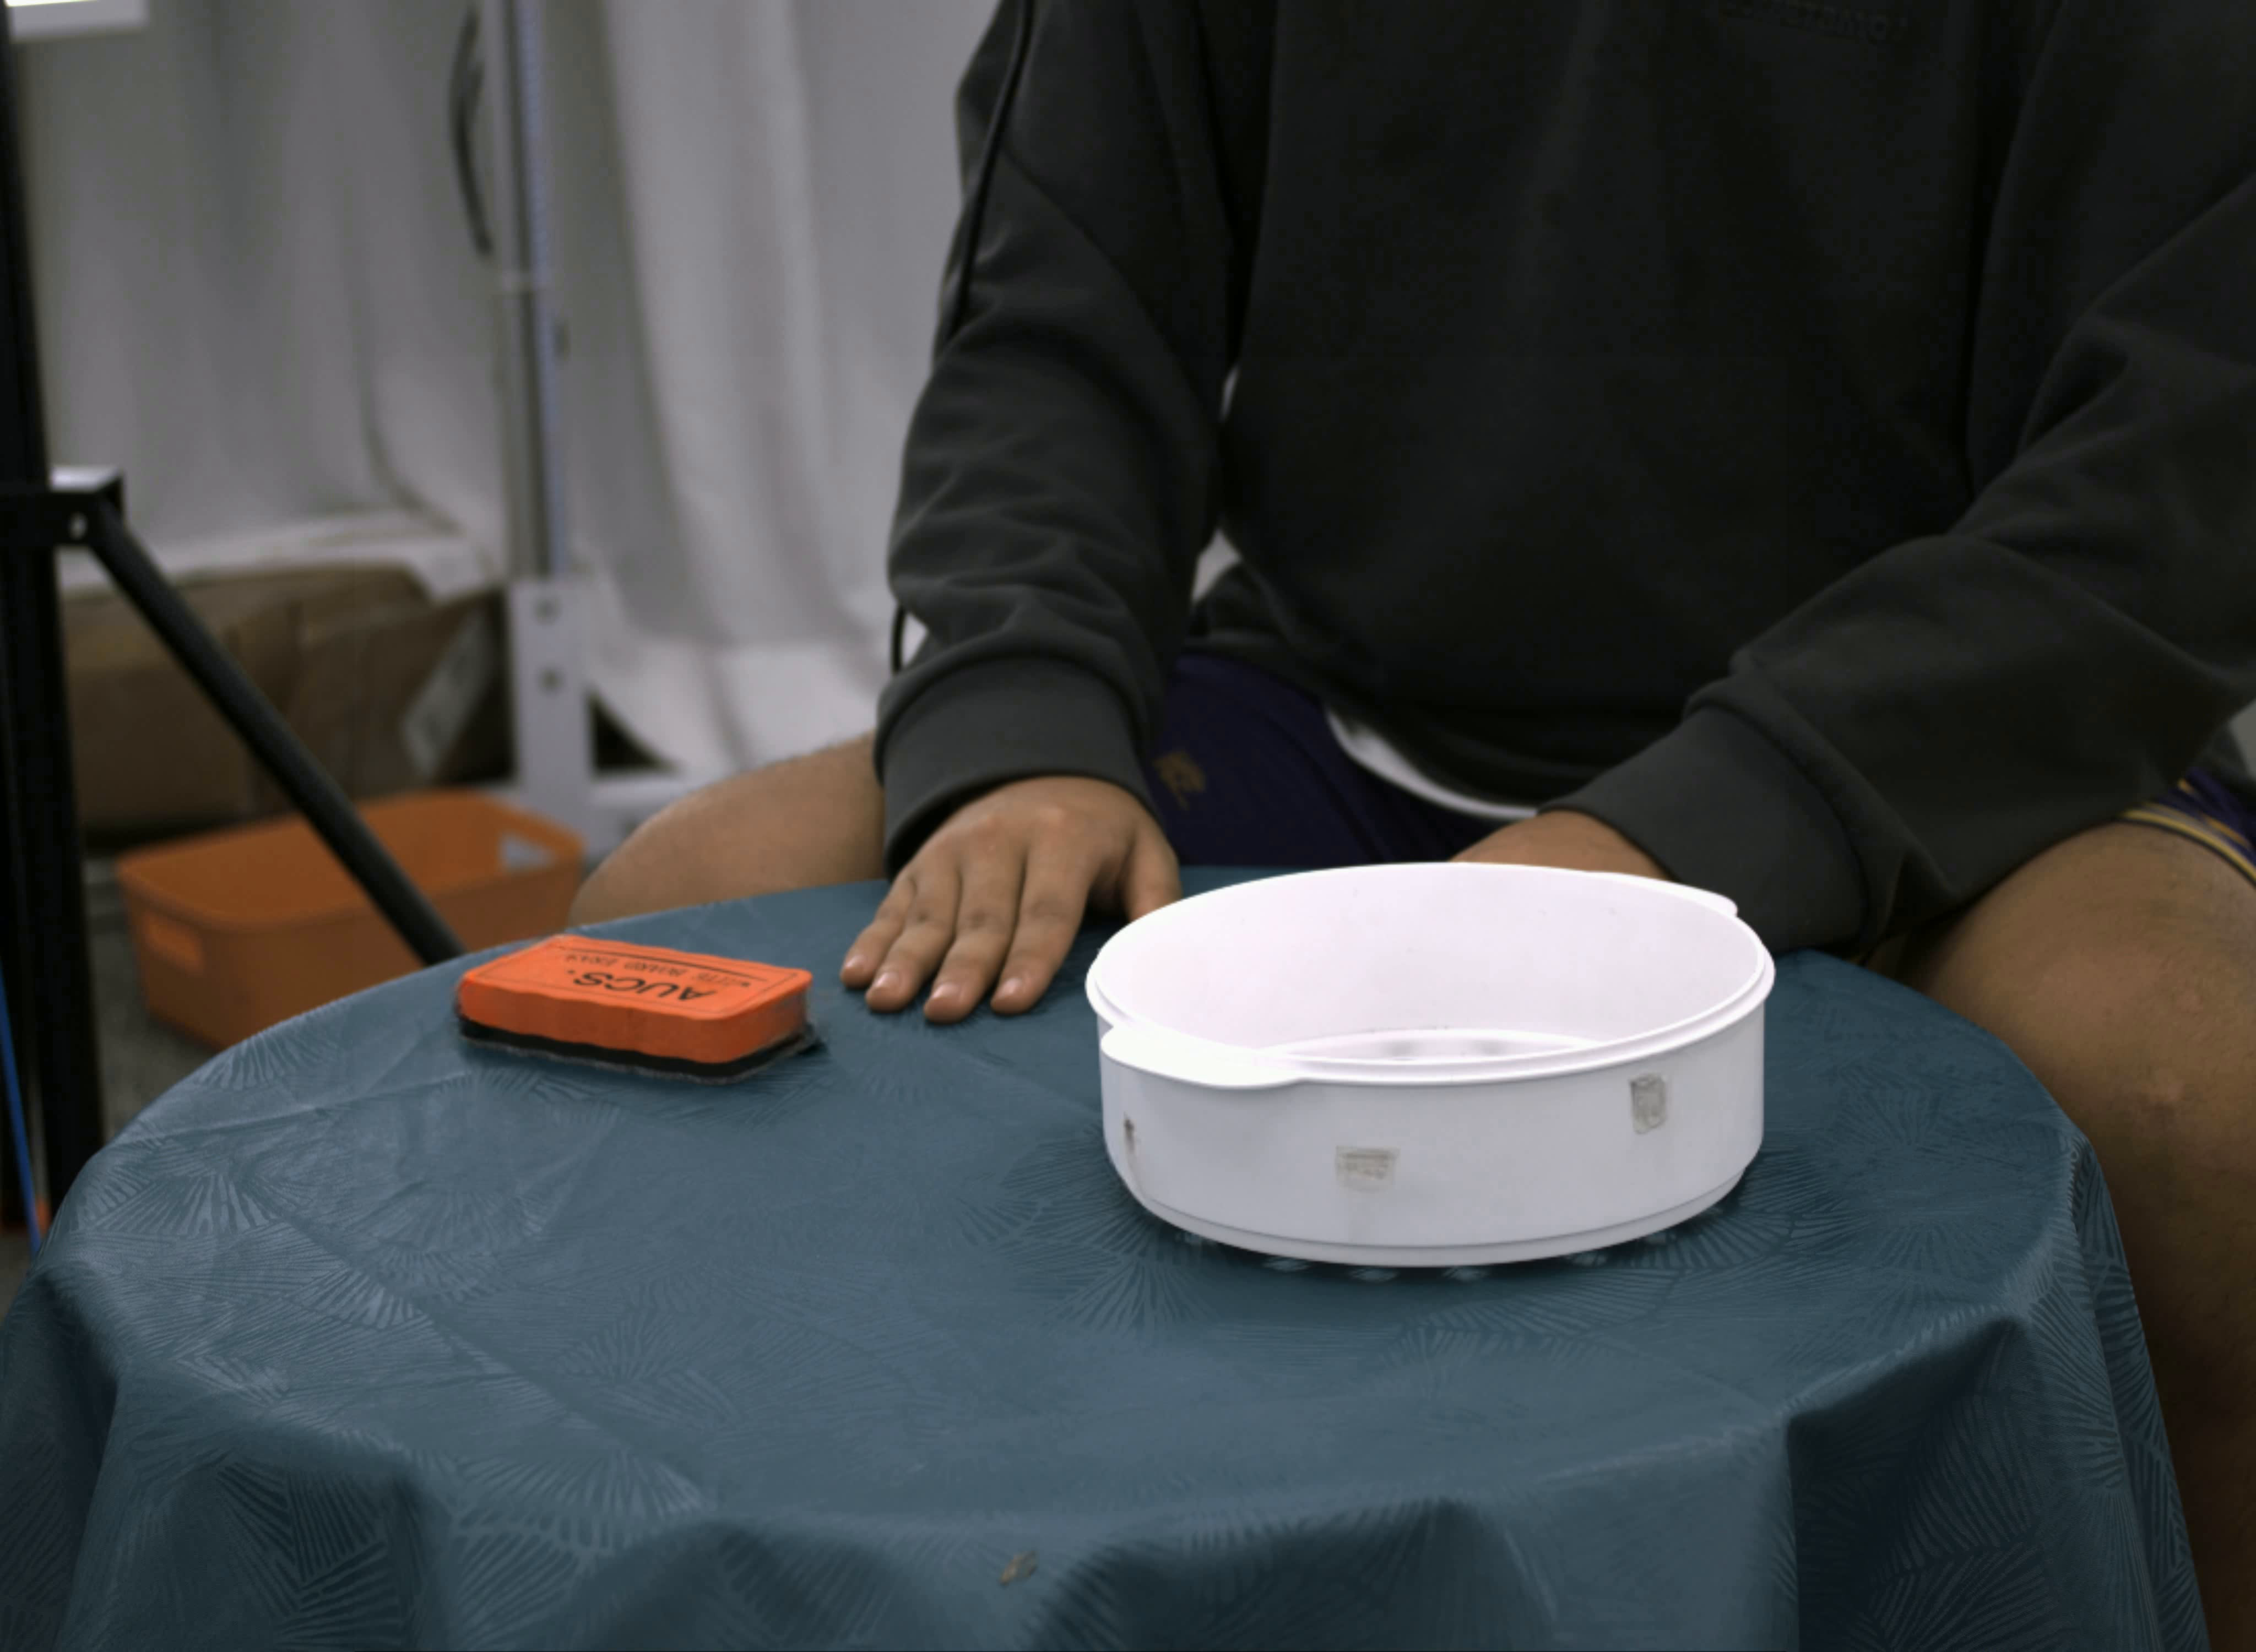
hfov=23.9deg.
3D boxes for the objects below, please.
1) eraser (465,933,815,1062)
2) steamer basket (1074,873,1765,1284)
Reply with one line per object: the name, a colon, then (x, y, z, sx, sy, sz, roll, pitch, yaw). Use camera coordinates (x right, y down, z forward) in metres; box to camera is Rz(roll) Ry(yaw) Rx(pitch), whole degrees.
eraser: (-0.157, 0.055, 1.718, 0.110, 0.023, 0.058, 6, 12, 32)
steamer basket: (0.085, 0.074, 1.551, 0.206, 0.069, 0.225, 12, 22, 44)
